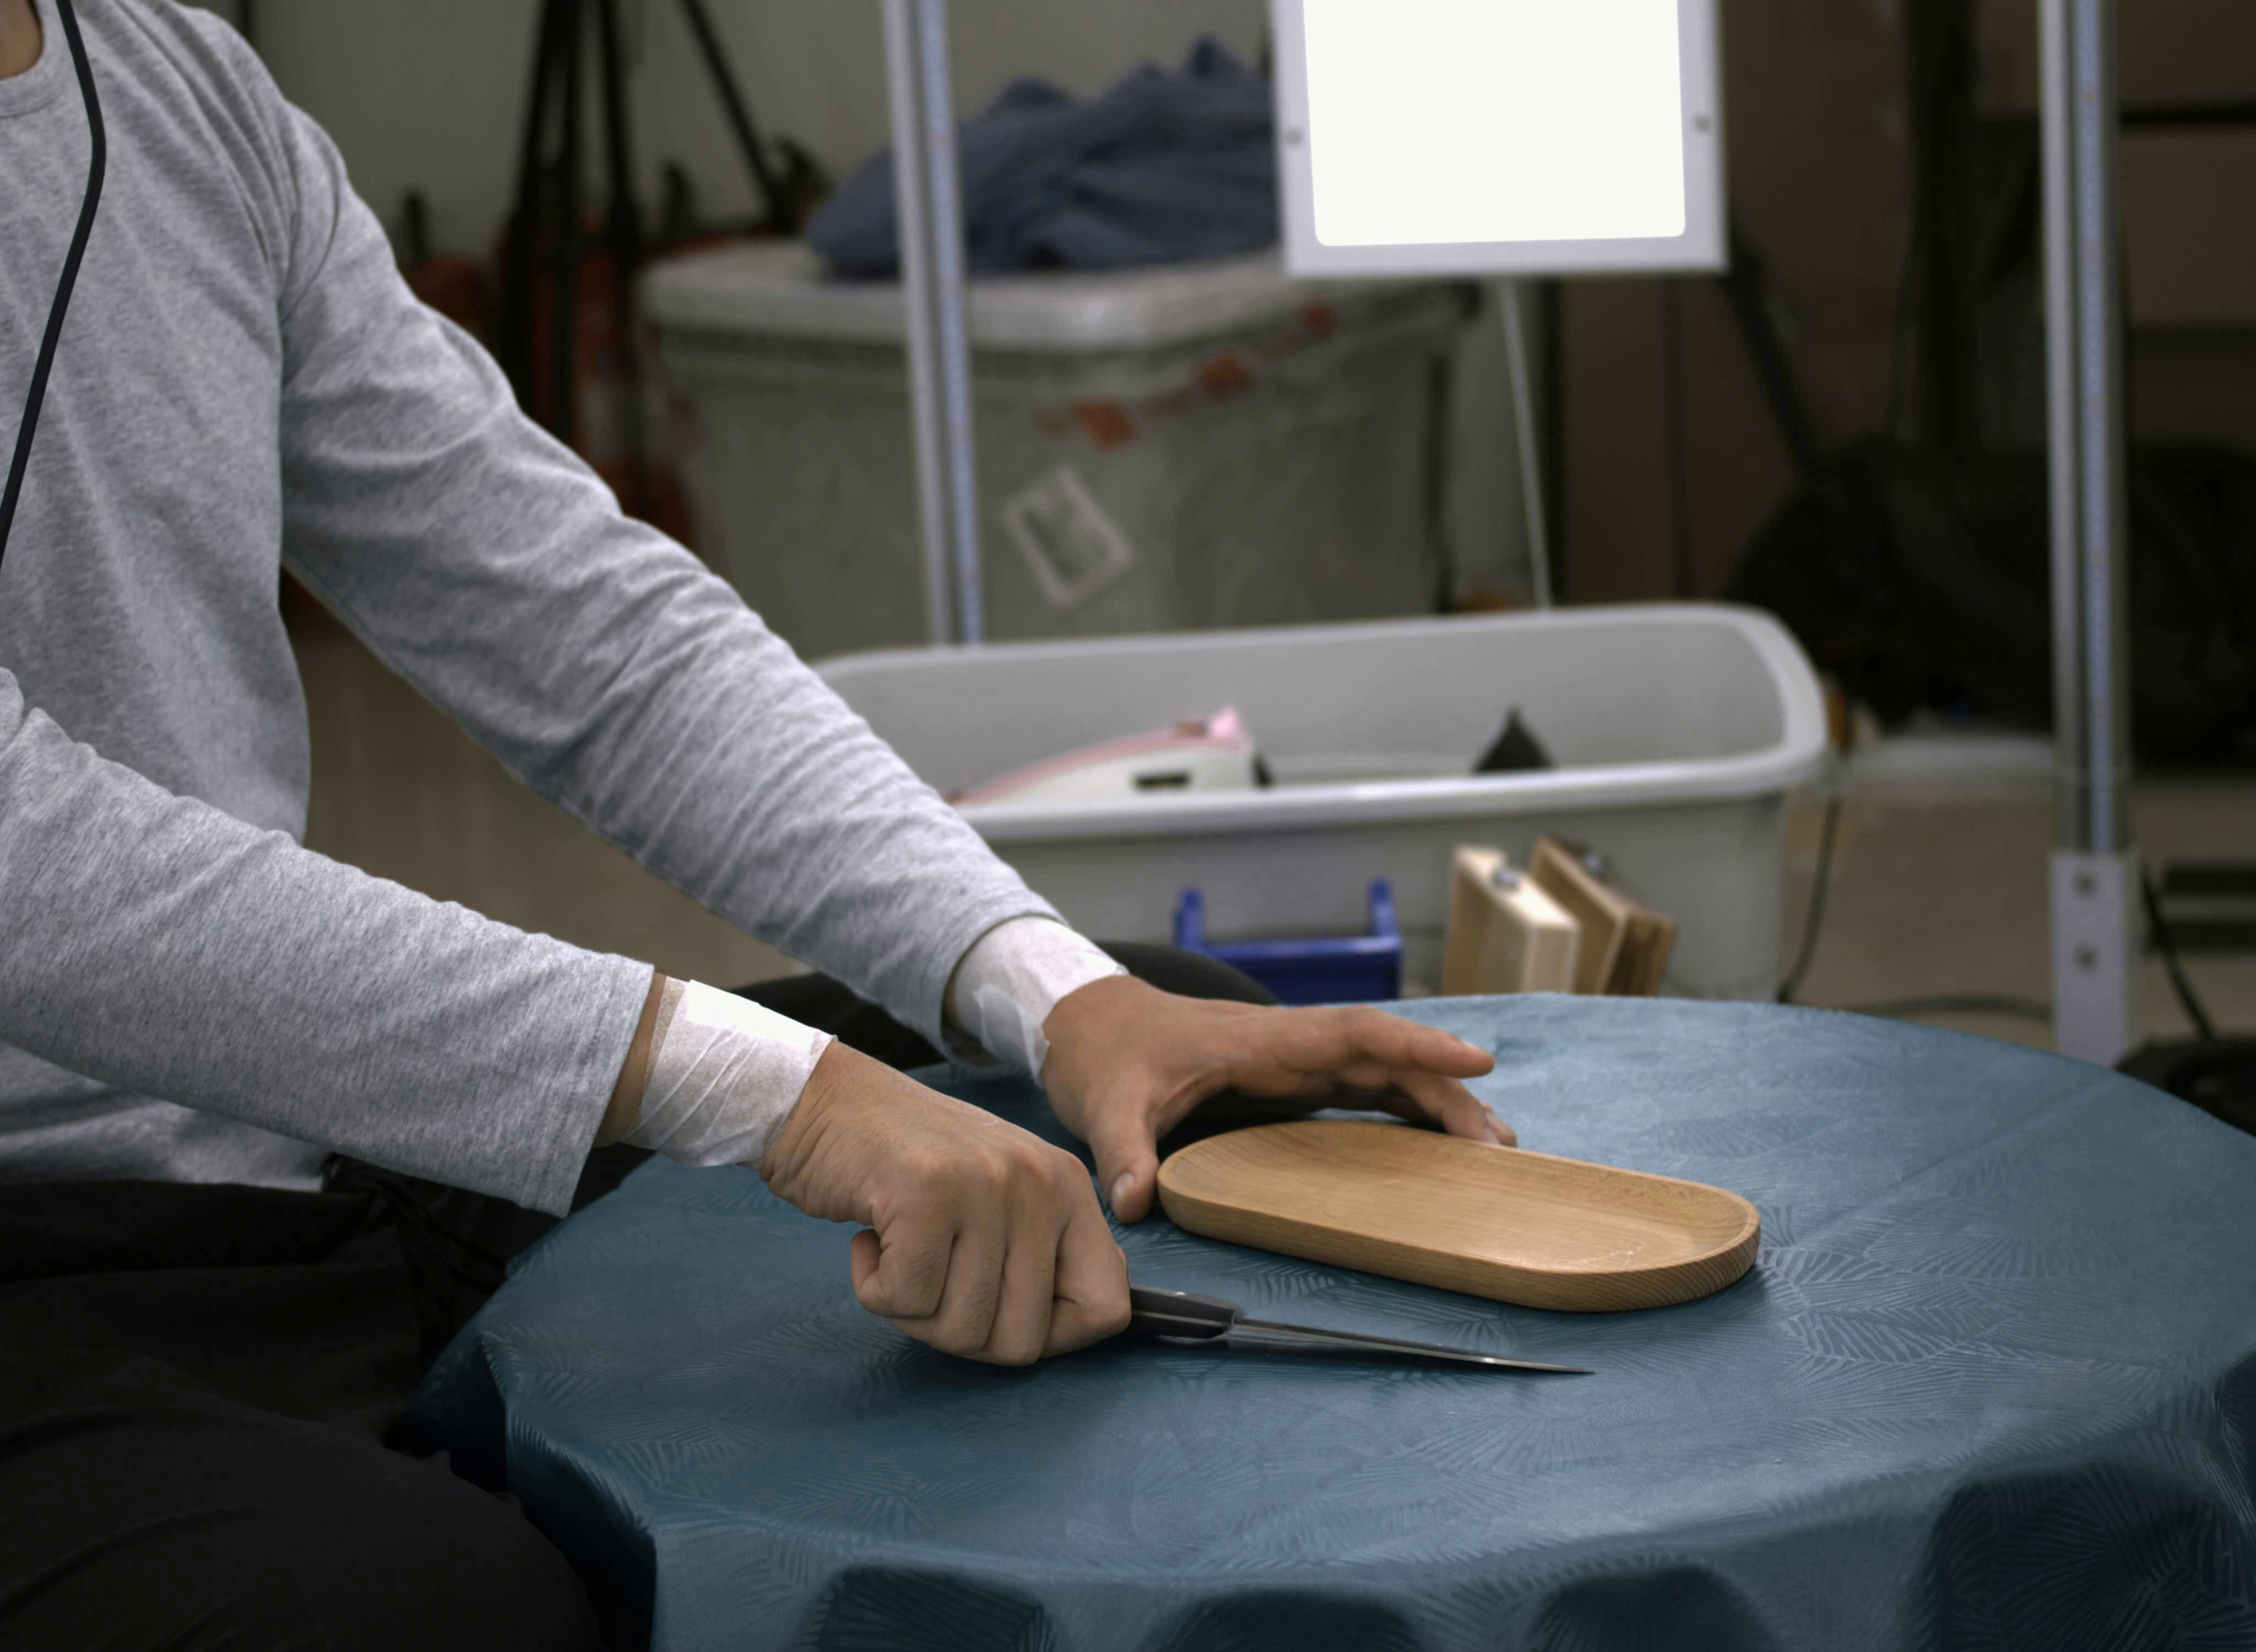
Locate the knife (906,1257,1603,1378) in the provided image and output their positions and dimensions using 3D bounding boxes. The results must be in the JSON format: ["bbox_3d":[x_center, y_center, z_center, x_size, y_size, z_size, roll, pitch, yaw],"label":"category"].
[{"bbox_3d":[0.036,0.157,1.733,0.242,0.016,0.024,6,2,25],"label":"knife"}]

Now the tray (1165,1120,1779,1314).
[{"bbox_3d":[0.112,0.129,1.822,0.236,0.020,0.099,10,22,42],"label":"tray"}]
